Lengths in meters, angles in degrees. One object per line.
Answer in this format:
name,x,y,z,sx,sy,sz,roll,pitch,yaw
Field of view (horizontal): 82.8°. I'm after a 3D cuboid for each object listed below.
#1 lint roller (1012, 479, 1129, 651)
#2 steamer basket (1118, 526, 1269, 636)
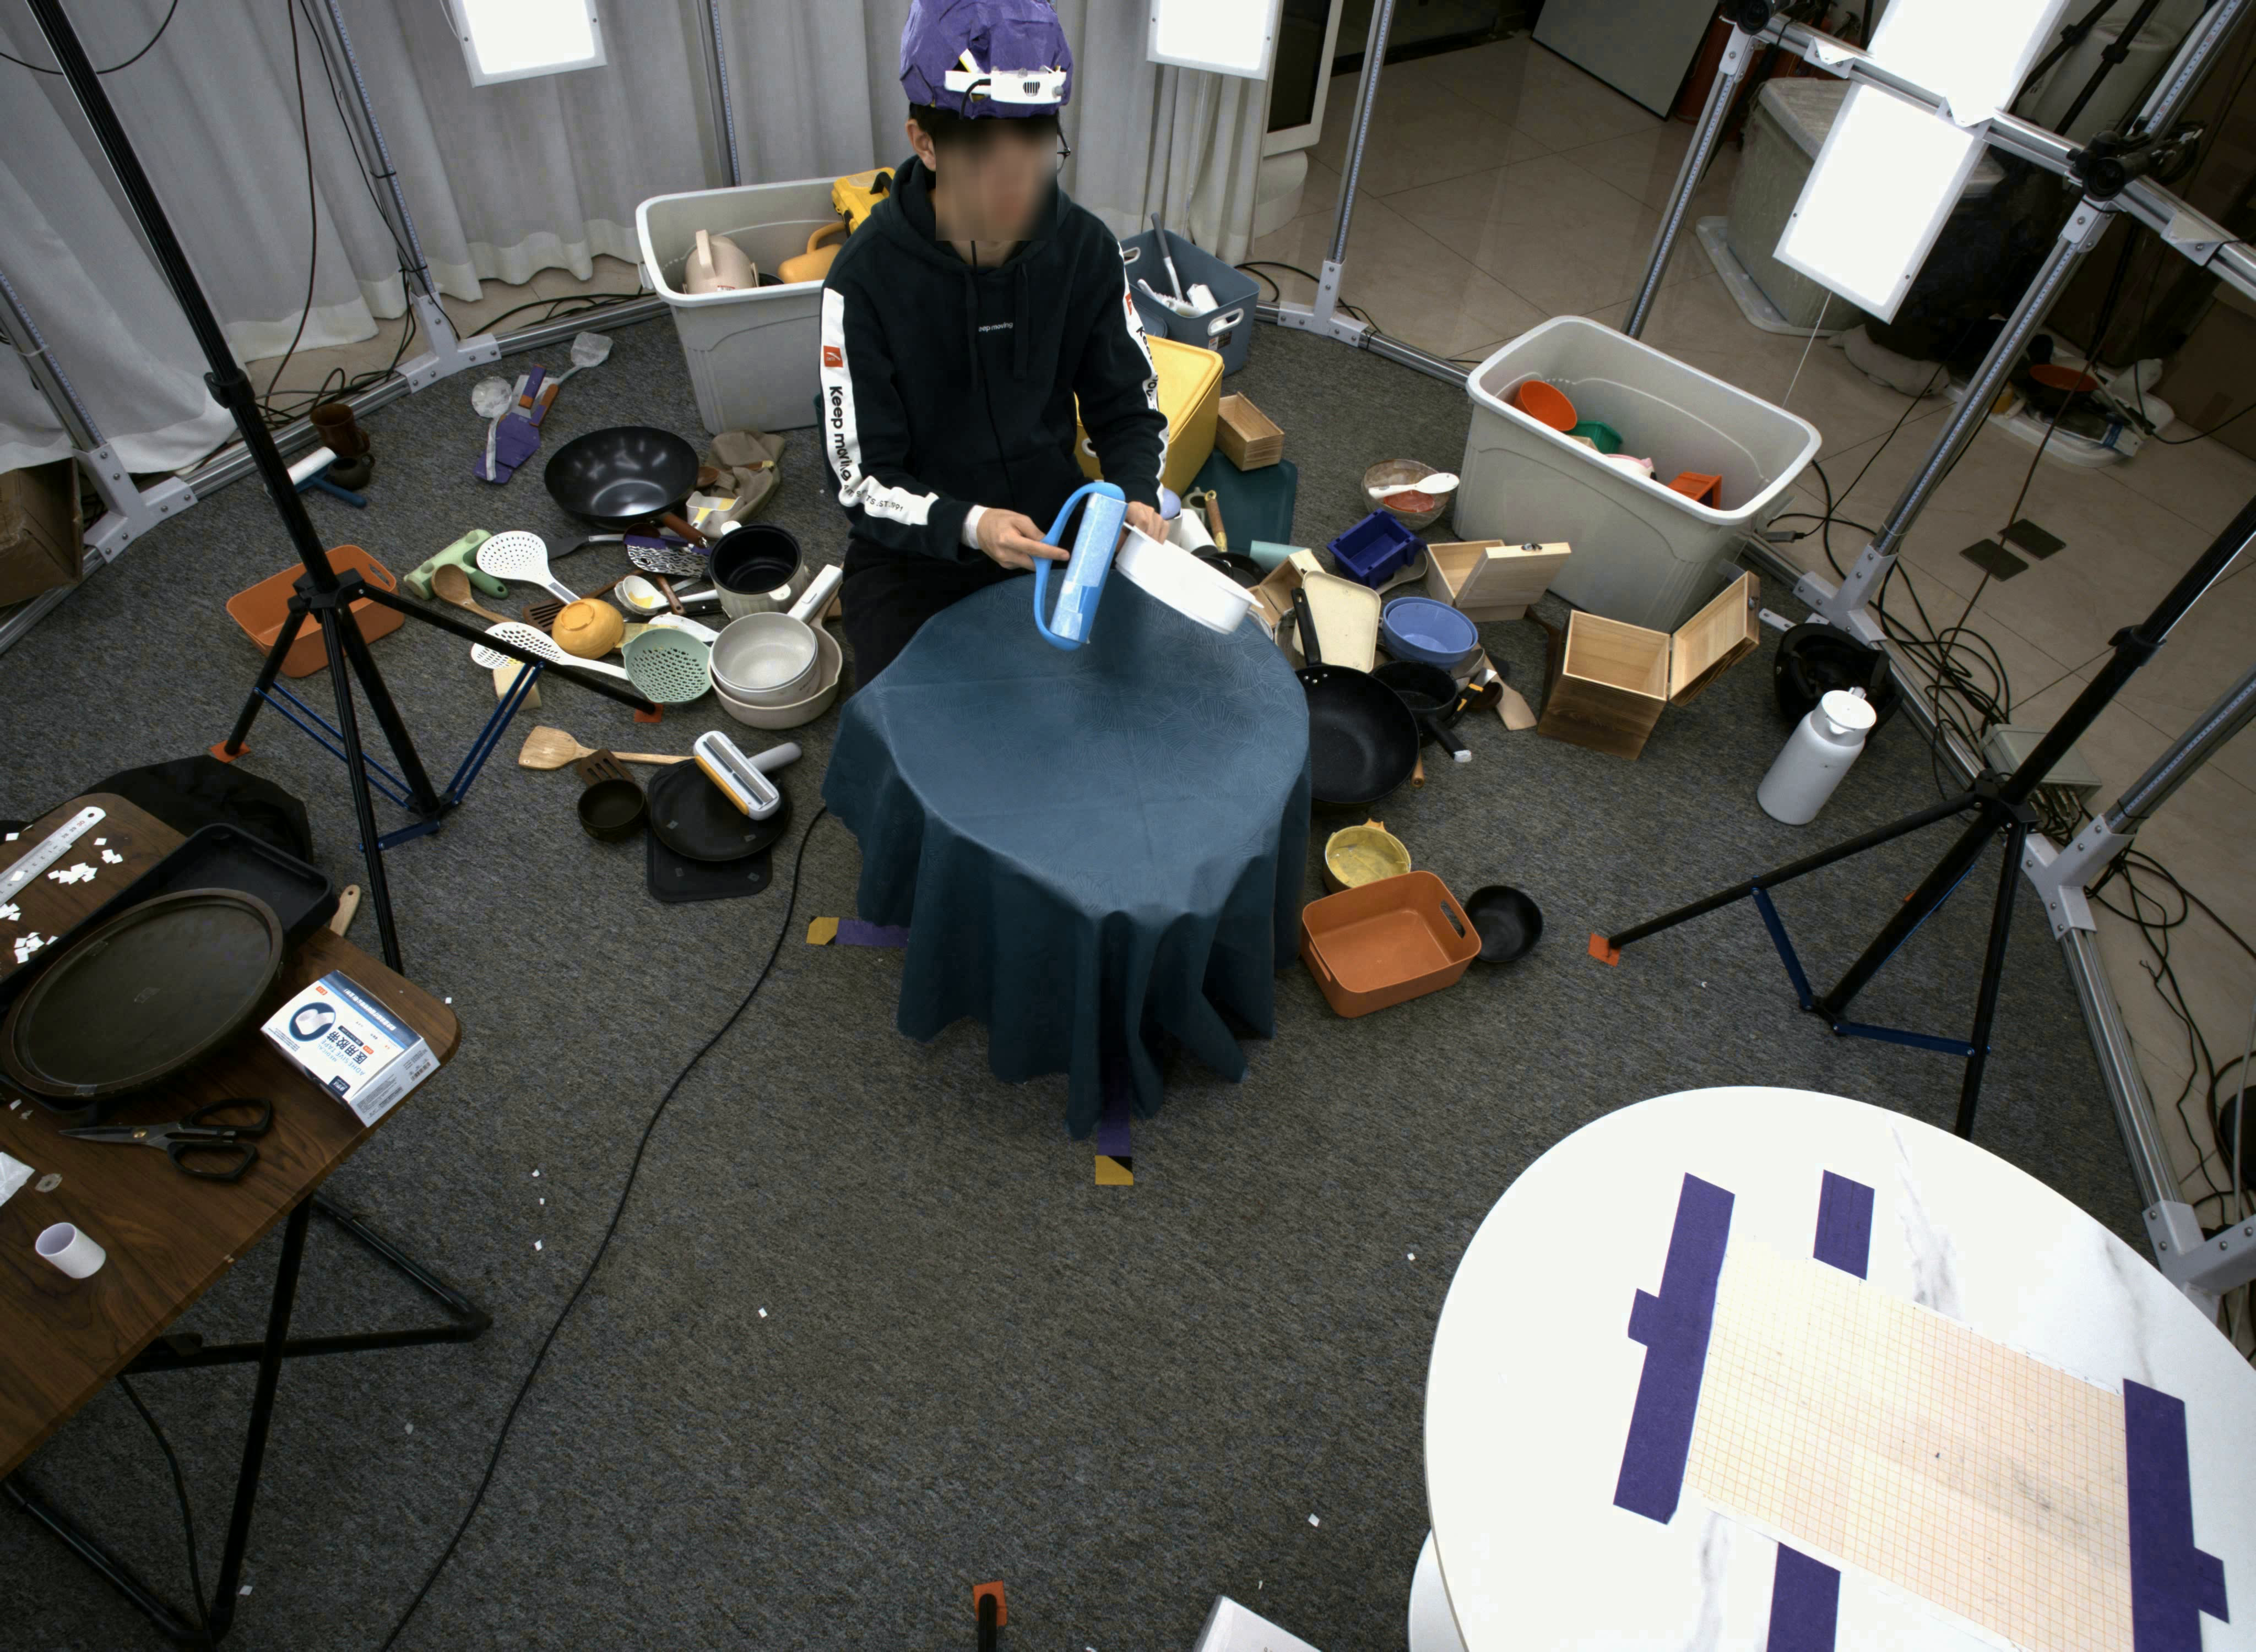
lint roller,-0.099,-0.363,1.744,0.182,0.227,0.068,18,11,28
steamer basket,0.081,-0.336,1.785,0.230,0.069,0.203,28,13,-2
